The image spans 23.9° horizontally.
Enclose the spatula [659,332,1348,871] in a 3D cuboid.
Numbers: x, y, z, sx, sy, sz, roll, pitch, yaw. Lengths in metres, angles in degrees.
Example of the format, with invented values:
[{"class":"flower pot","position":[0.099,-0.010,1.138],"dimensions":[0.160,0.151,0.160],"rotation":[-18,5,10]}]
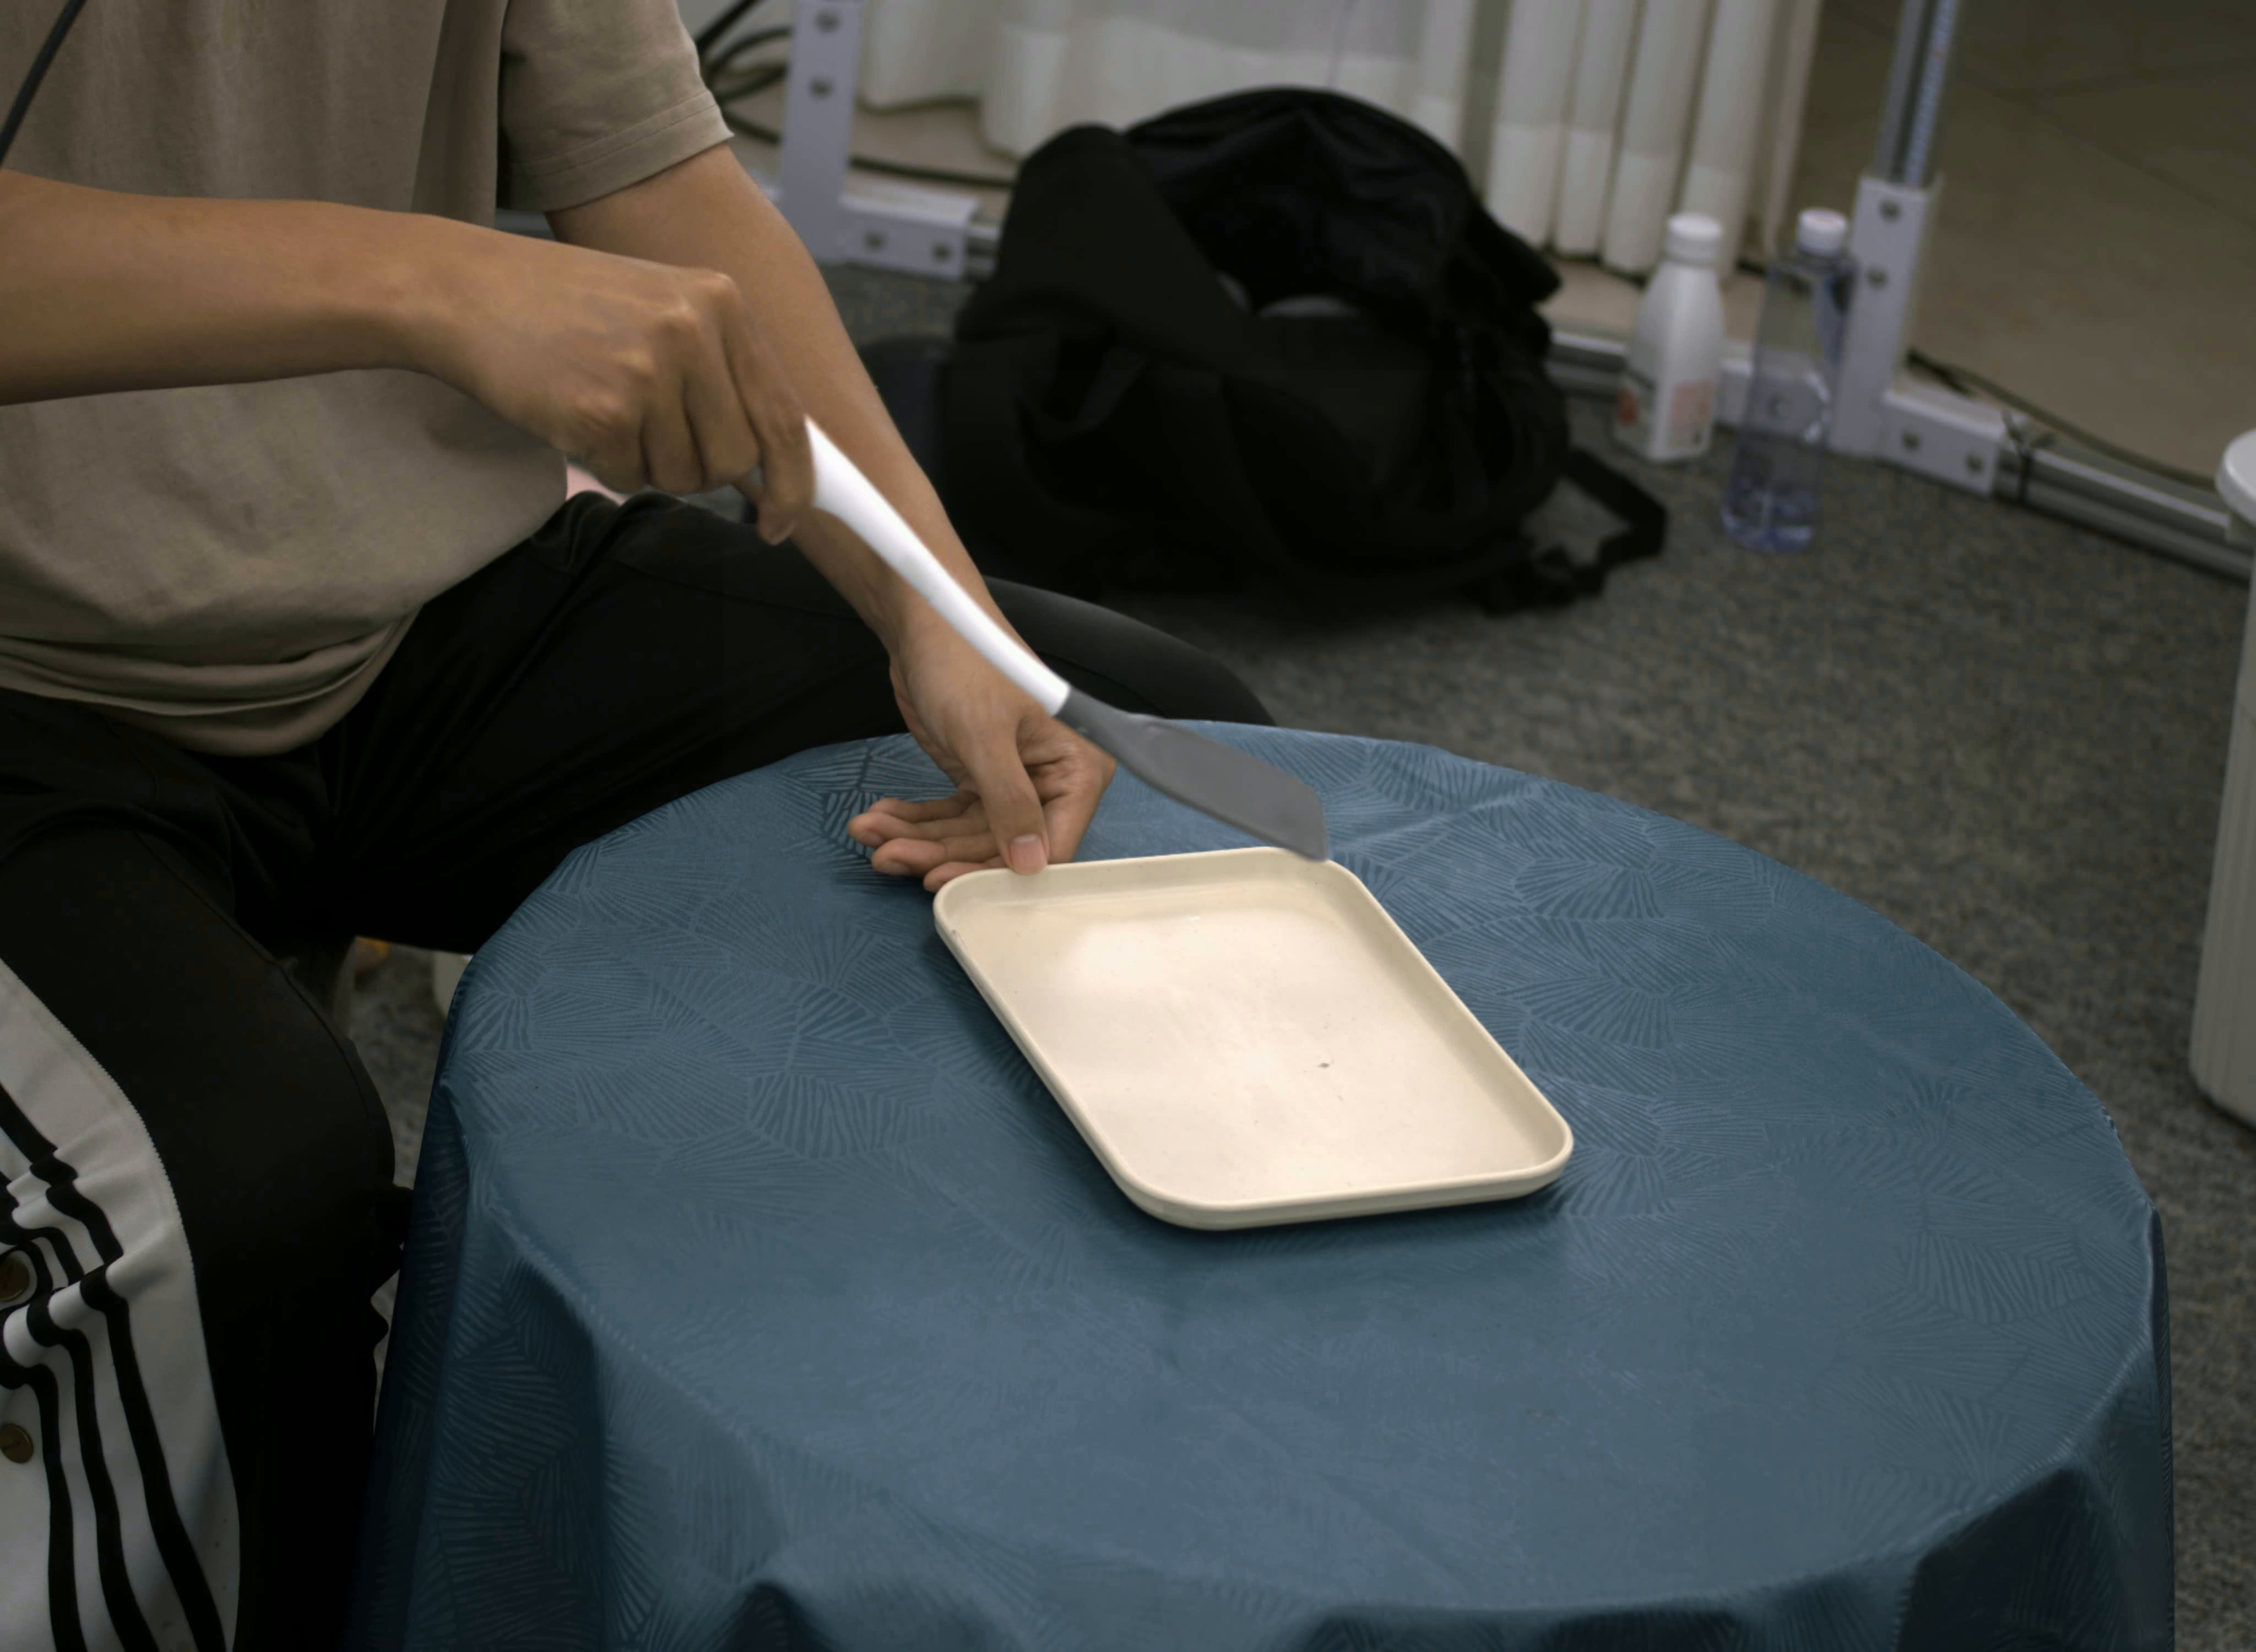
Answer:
[{"class":"spatula","position":[-0.038,-0.071,1.798],"dimensions":[0.285,0.032,0.059],"rotation":[36,19,-20]}]

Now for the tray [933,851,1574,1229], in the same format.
[{"class":"tray","position":[0.041,0.075,1.891],"dimensions":[0.170,0.017,0.242],"rotation":[-4,29,-22]}]
